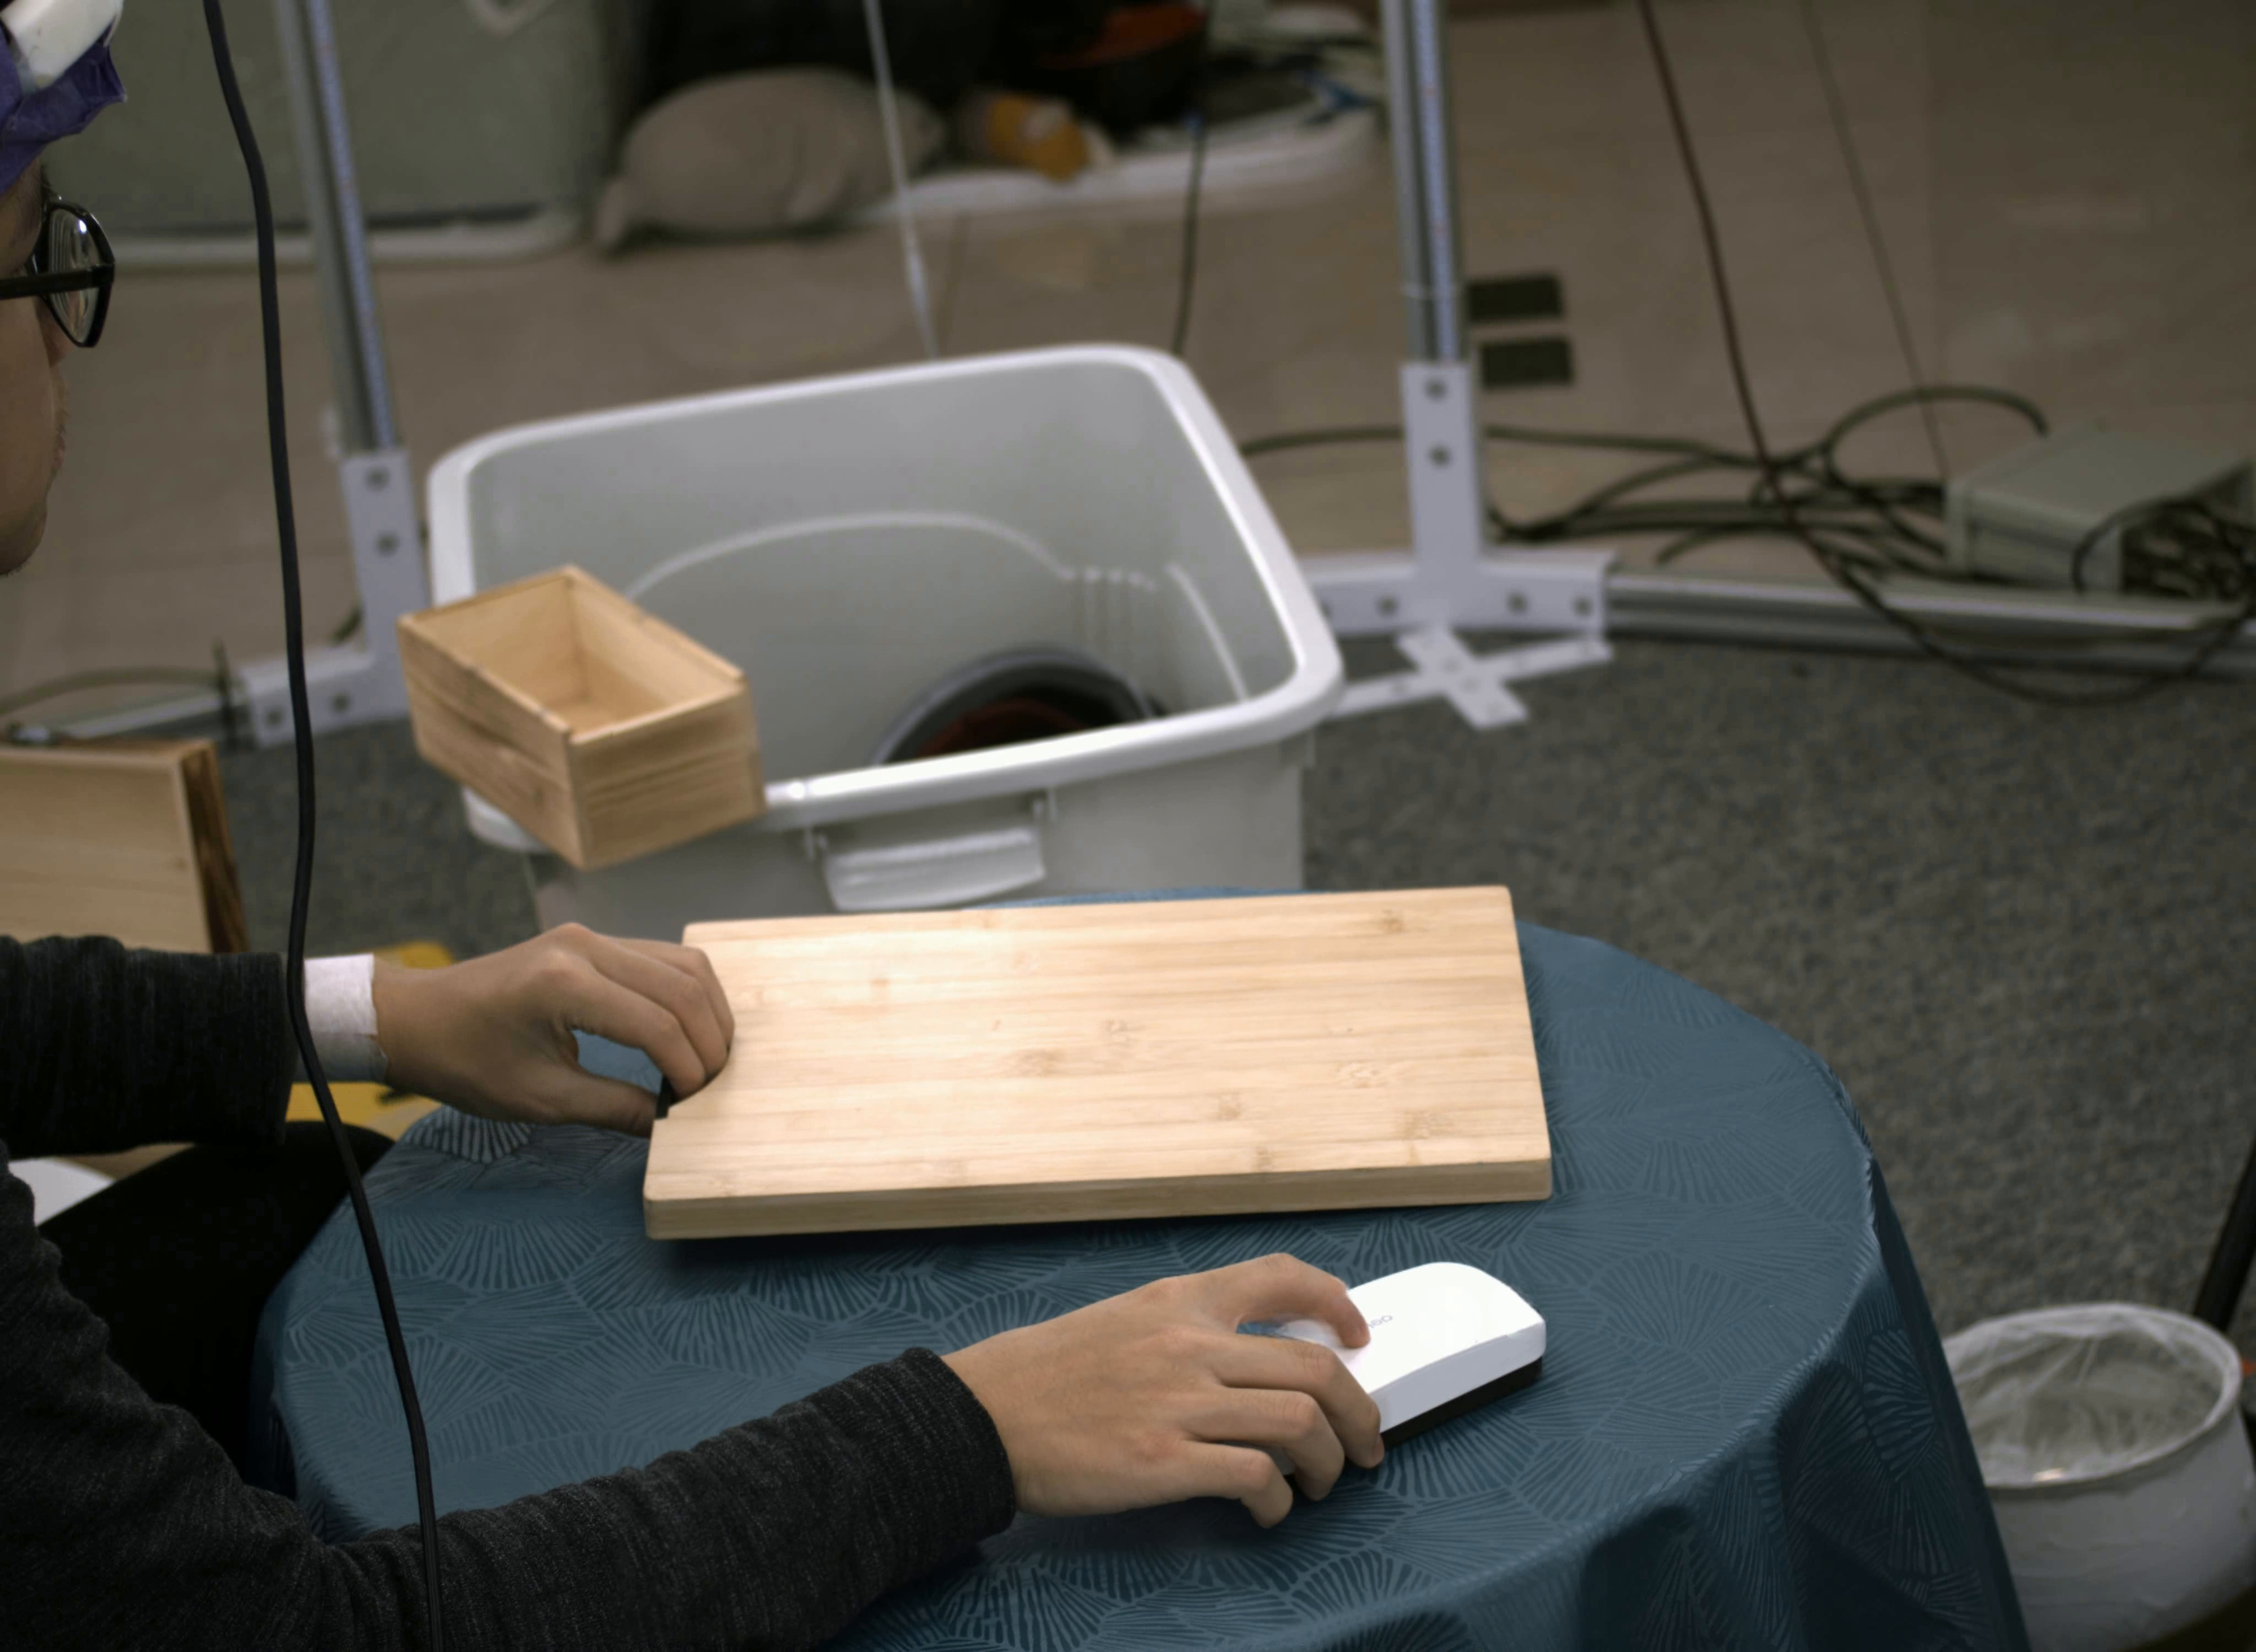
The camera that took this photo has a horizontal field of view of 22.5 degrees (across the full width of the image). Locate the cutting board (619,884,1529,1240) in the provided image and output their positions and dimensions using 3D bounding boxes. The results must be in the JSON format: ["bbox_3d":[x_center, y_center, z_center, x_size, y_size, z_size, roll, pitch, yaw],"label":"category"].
[{"bbox_3d":[-0.018,0.090,2.216,0.348,0.024,0.247,-3,25,0],"label":"cutting board"}]

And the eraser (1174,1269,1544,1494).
[{"bbox_3d":[0.080,0.190,1.981,0.130,0.035,0.063,-19,30,-28],"label":"eraser"}]
